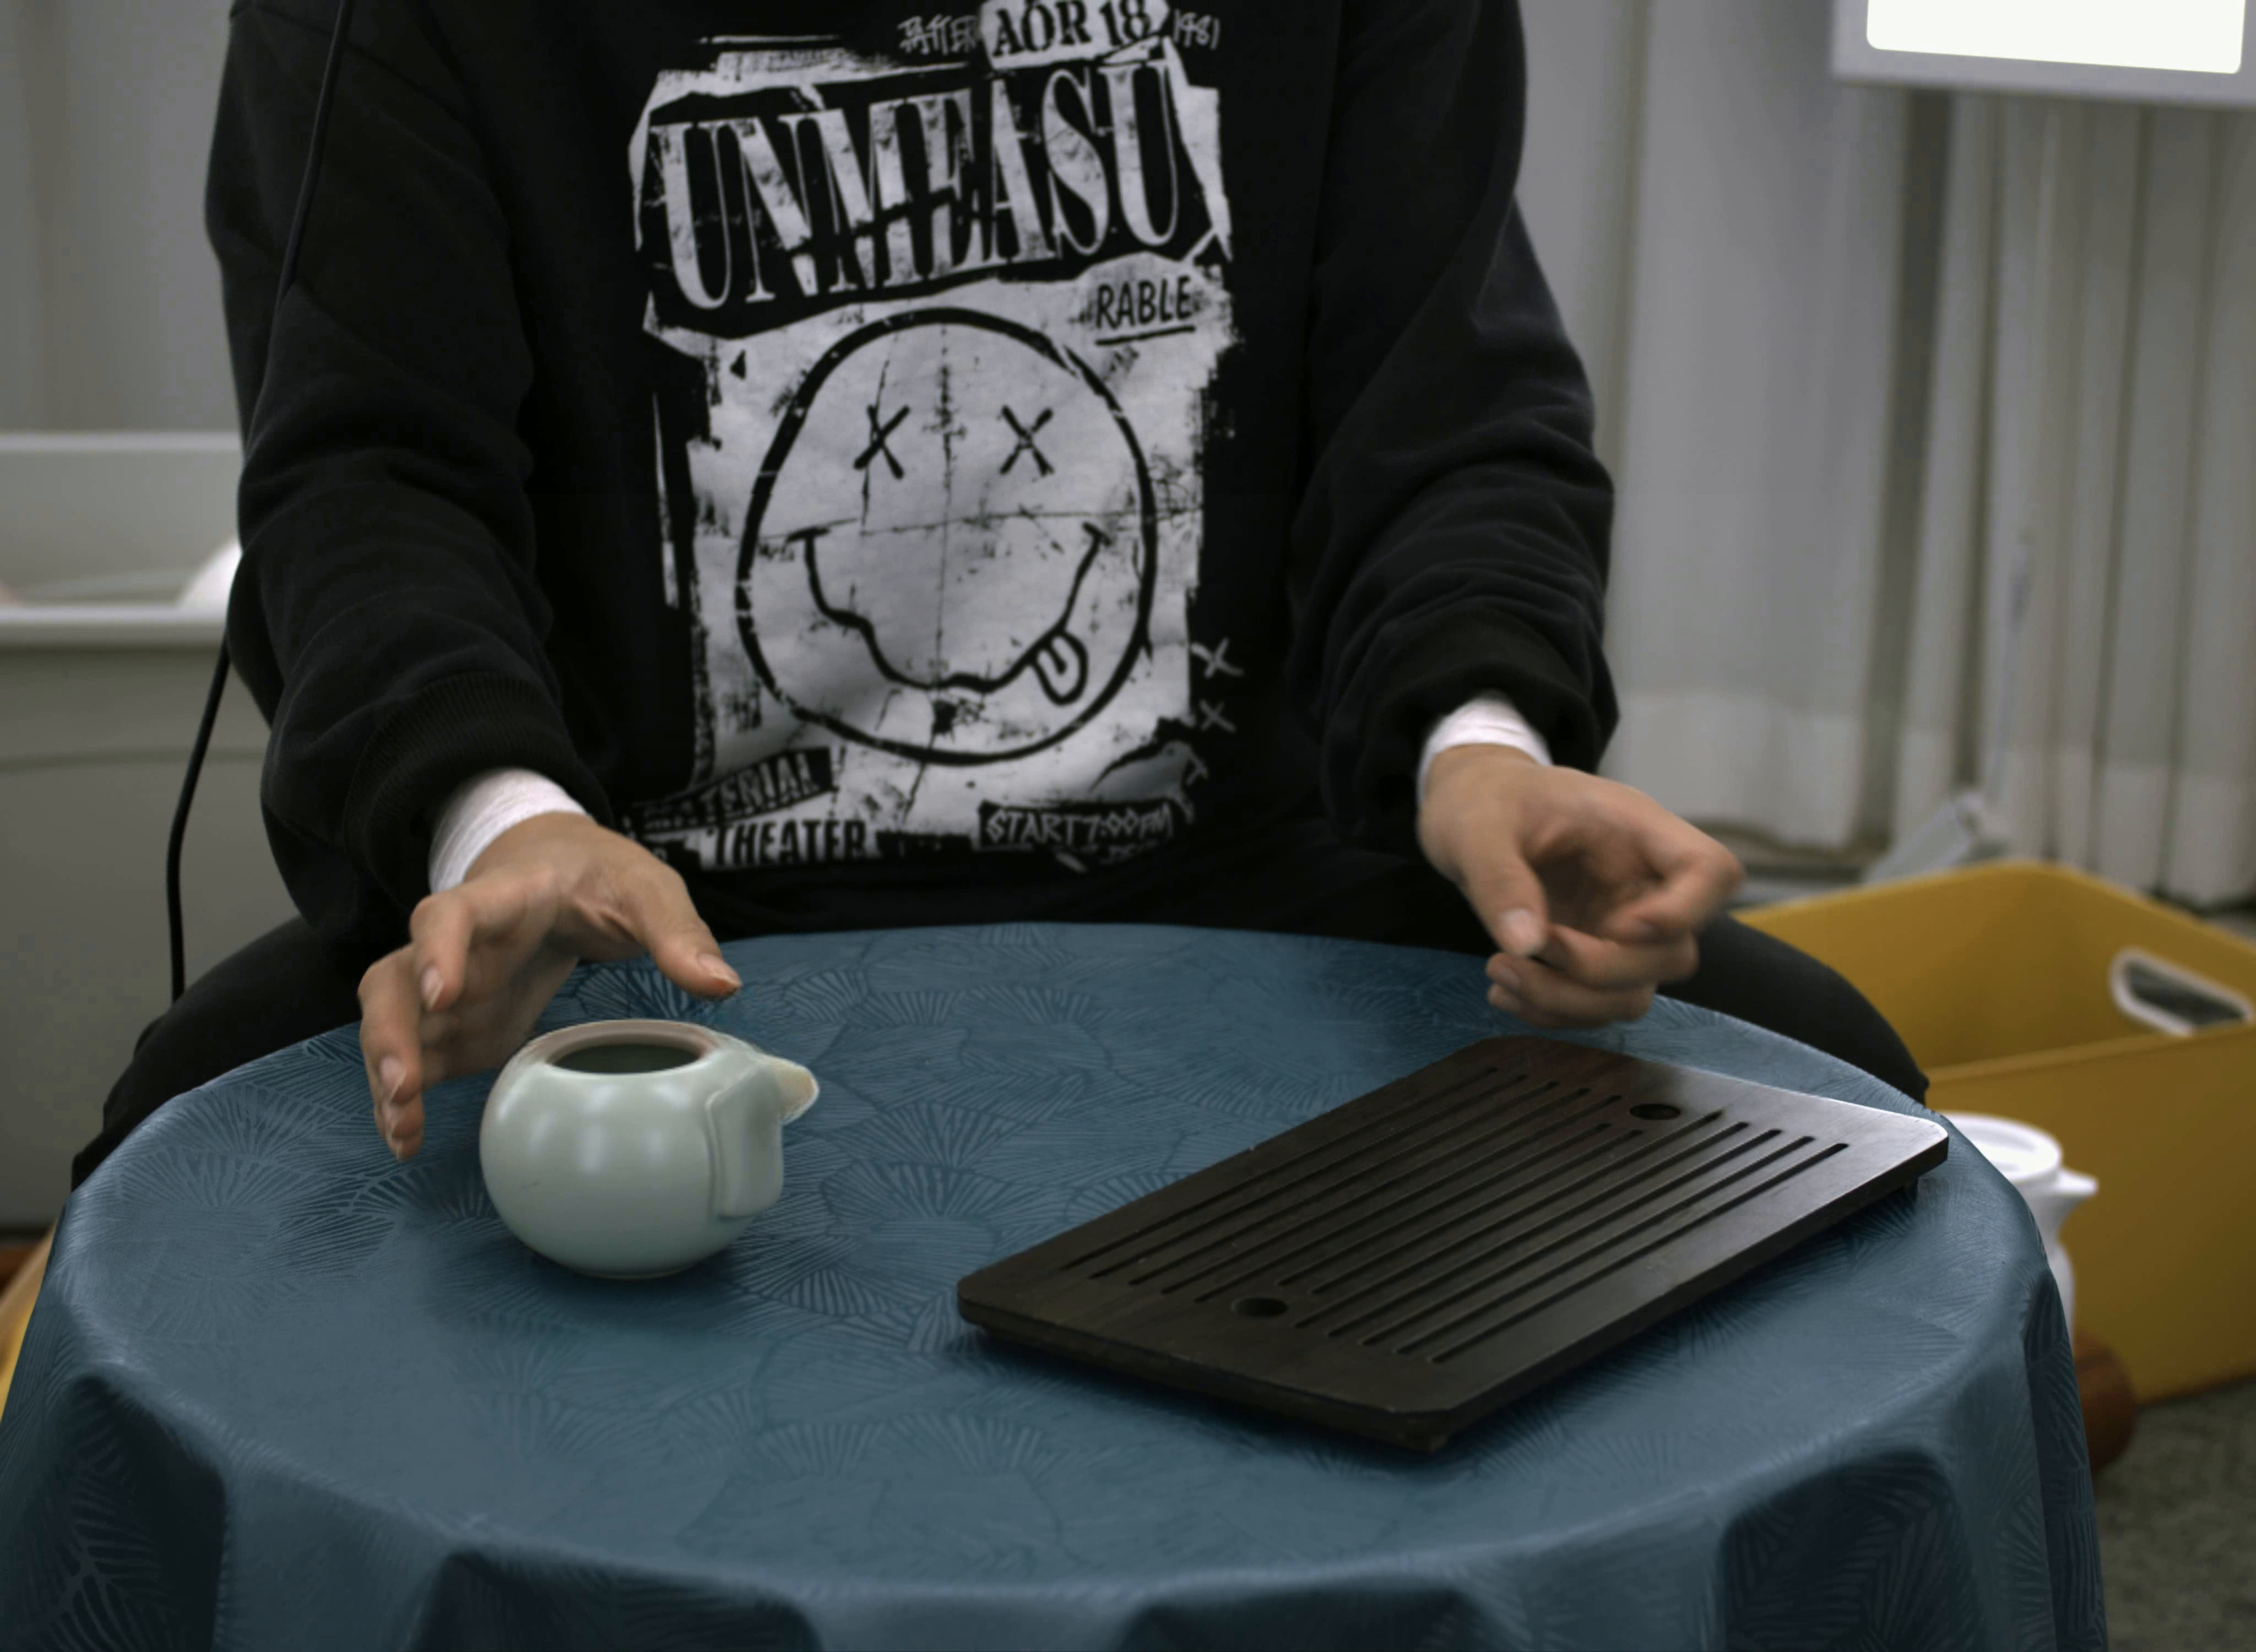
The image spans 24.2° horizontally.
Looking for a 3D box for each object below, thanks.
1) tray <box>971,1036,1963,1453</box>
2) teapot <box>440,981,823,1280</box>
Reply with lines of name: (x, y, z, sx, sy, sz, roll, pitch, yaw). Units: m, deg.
tray: (0.107, 0.120, 1.564, 0.168, 0.019, 0.307, 11, 18, 34)
teapot: (-0.147, 0.092, 1.553, 0.142, 0.075, 0.089, 13, 21, 35)
